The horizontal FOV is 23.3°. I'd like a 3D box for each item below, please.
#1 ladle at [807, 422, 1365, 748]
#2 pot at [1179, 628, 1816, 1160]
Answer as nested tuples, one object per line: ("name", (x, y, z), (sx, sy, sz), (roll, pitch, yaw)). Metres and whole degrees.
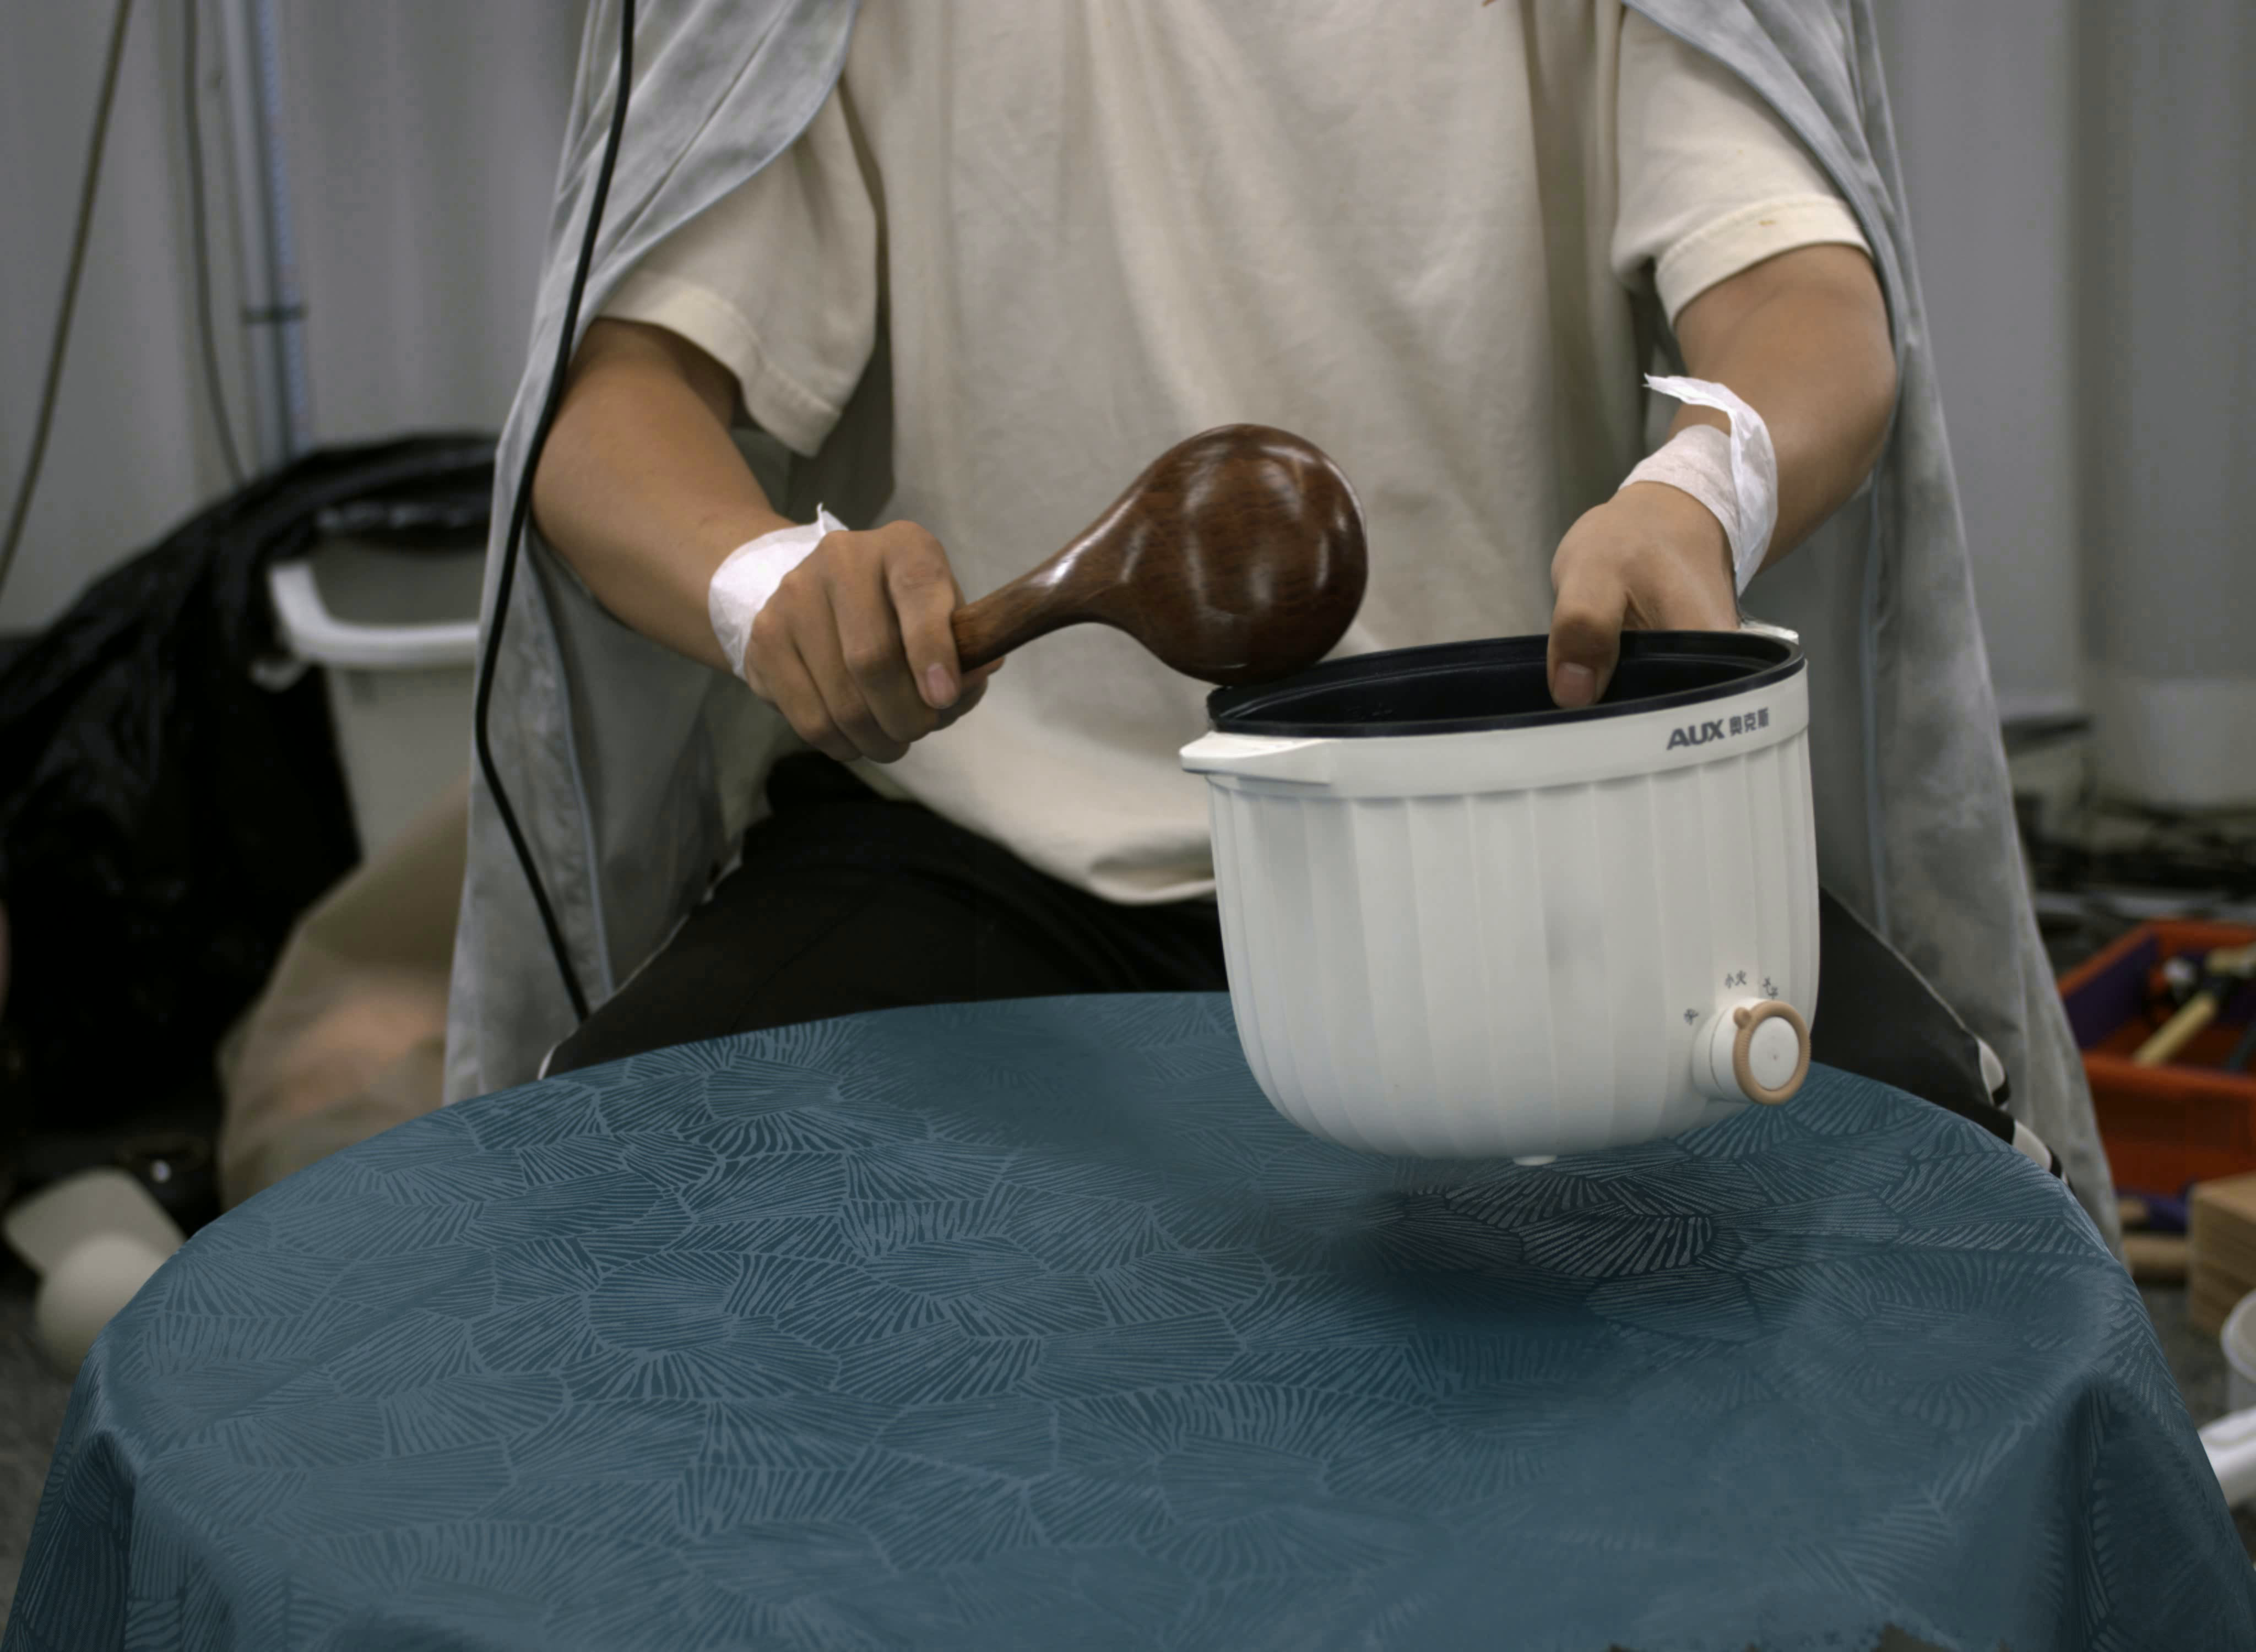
("ladle", (-0.016, -0.063, 1.750), (0.076, 0.083, 0.273), (10, -16, -24))
("pot", (0.120, 0.020, 1.629), (0.239, 0.142, 0.191), (-14, 8, -39))
